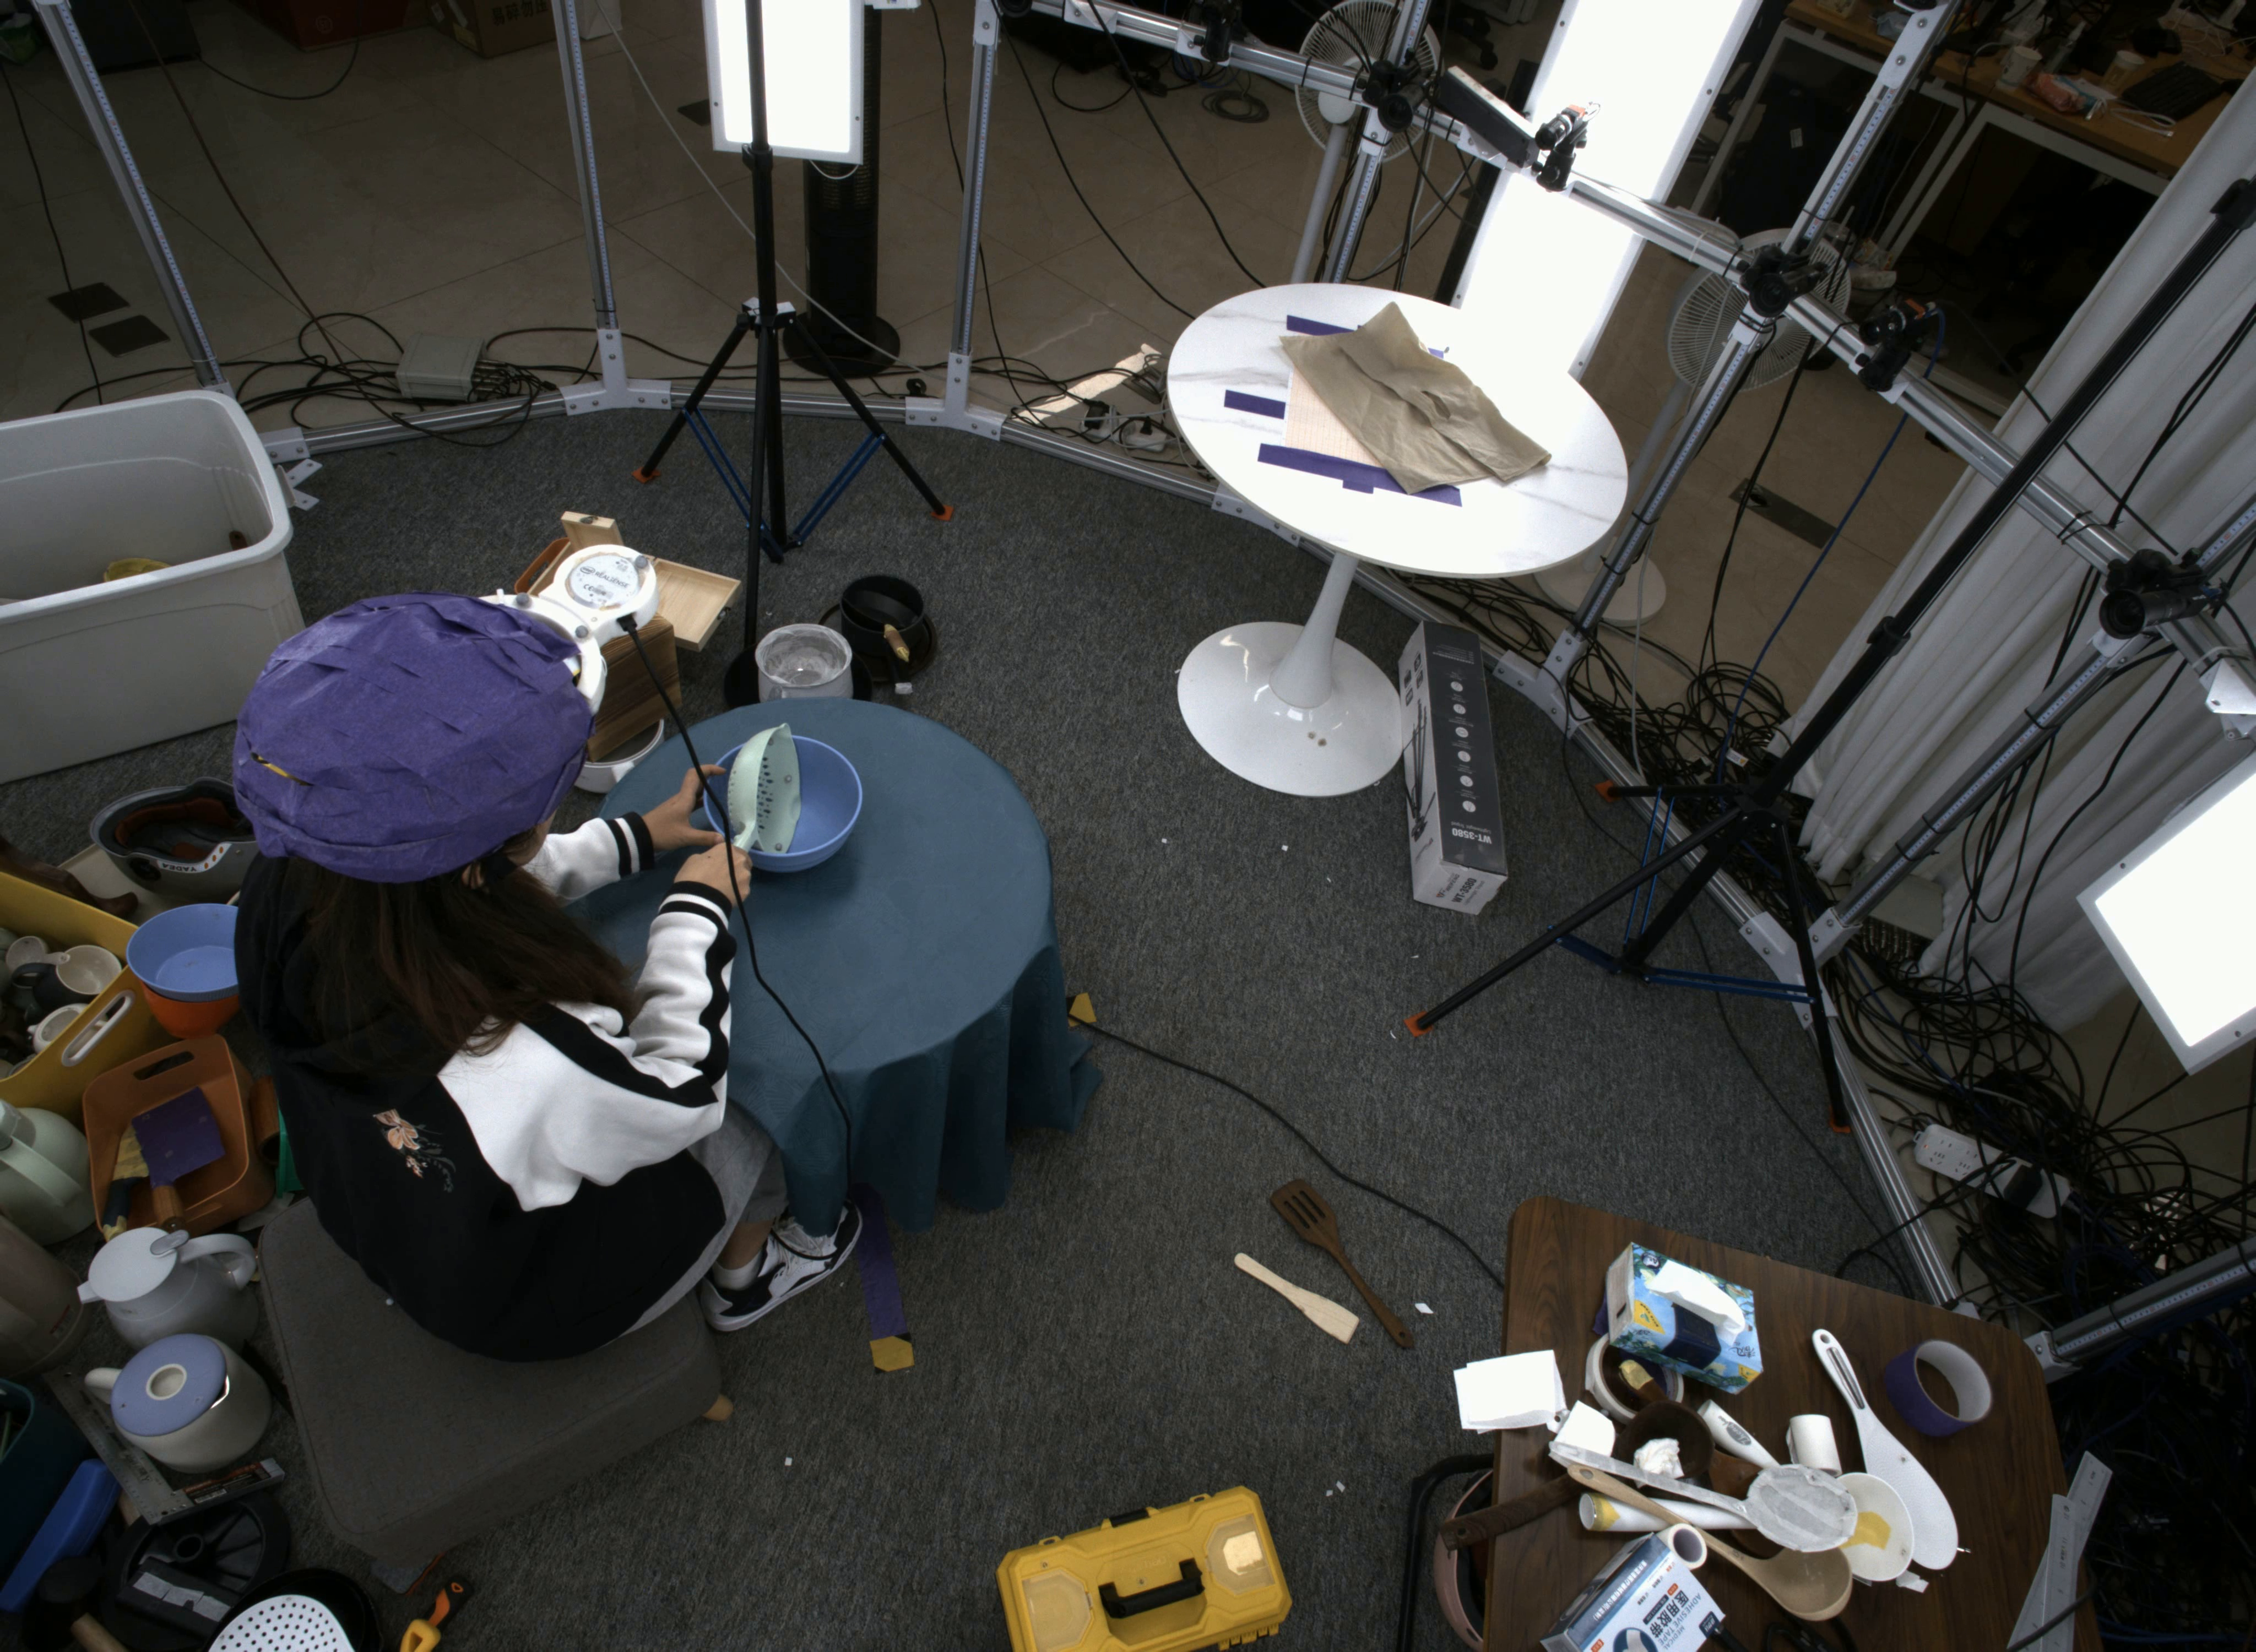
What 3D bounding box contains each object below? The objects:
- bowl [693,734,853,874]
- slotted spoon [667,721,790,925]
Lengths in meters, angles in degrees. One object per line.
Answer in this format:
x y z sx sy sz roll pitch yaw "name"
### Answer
-0.452 -0.013 1.660 0.196 0.097 0.193 8 52 -9 "bowl"
-0.471 0.009 1.540 0.075 0.175 0.350 -2 32 -3 "slotted spoon"
